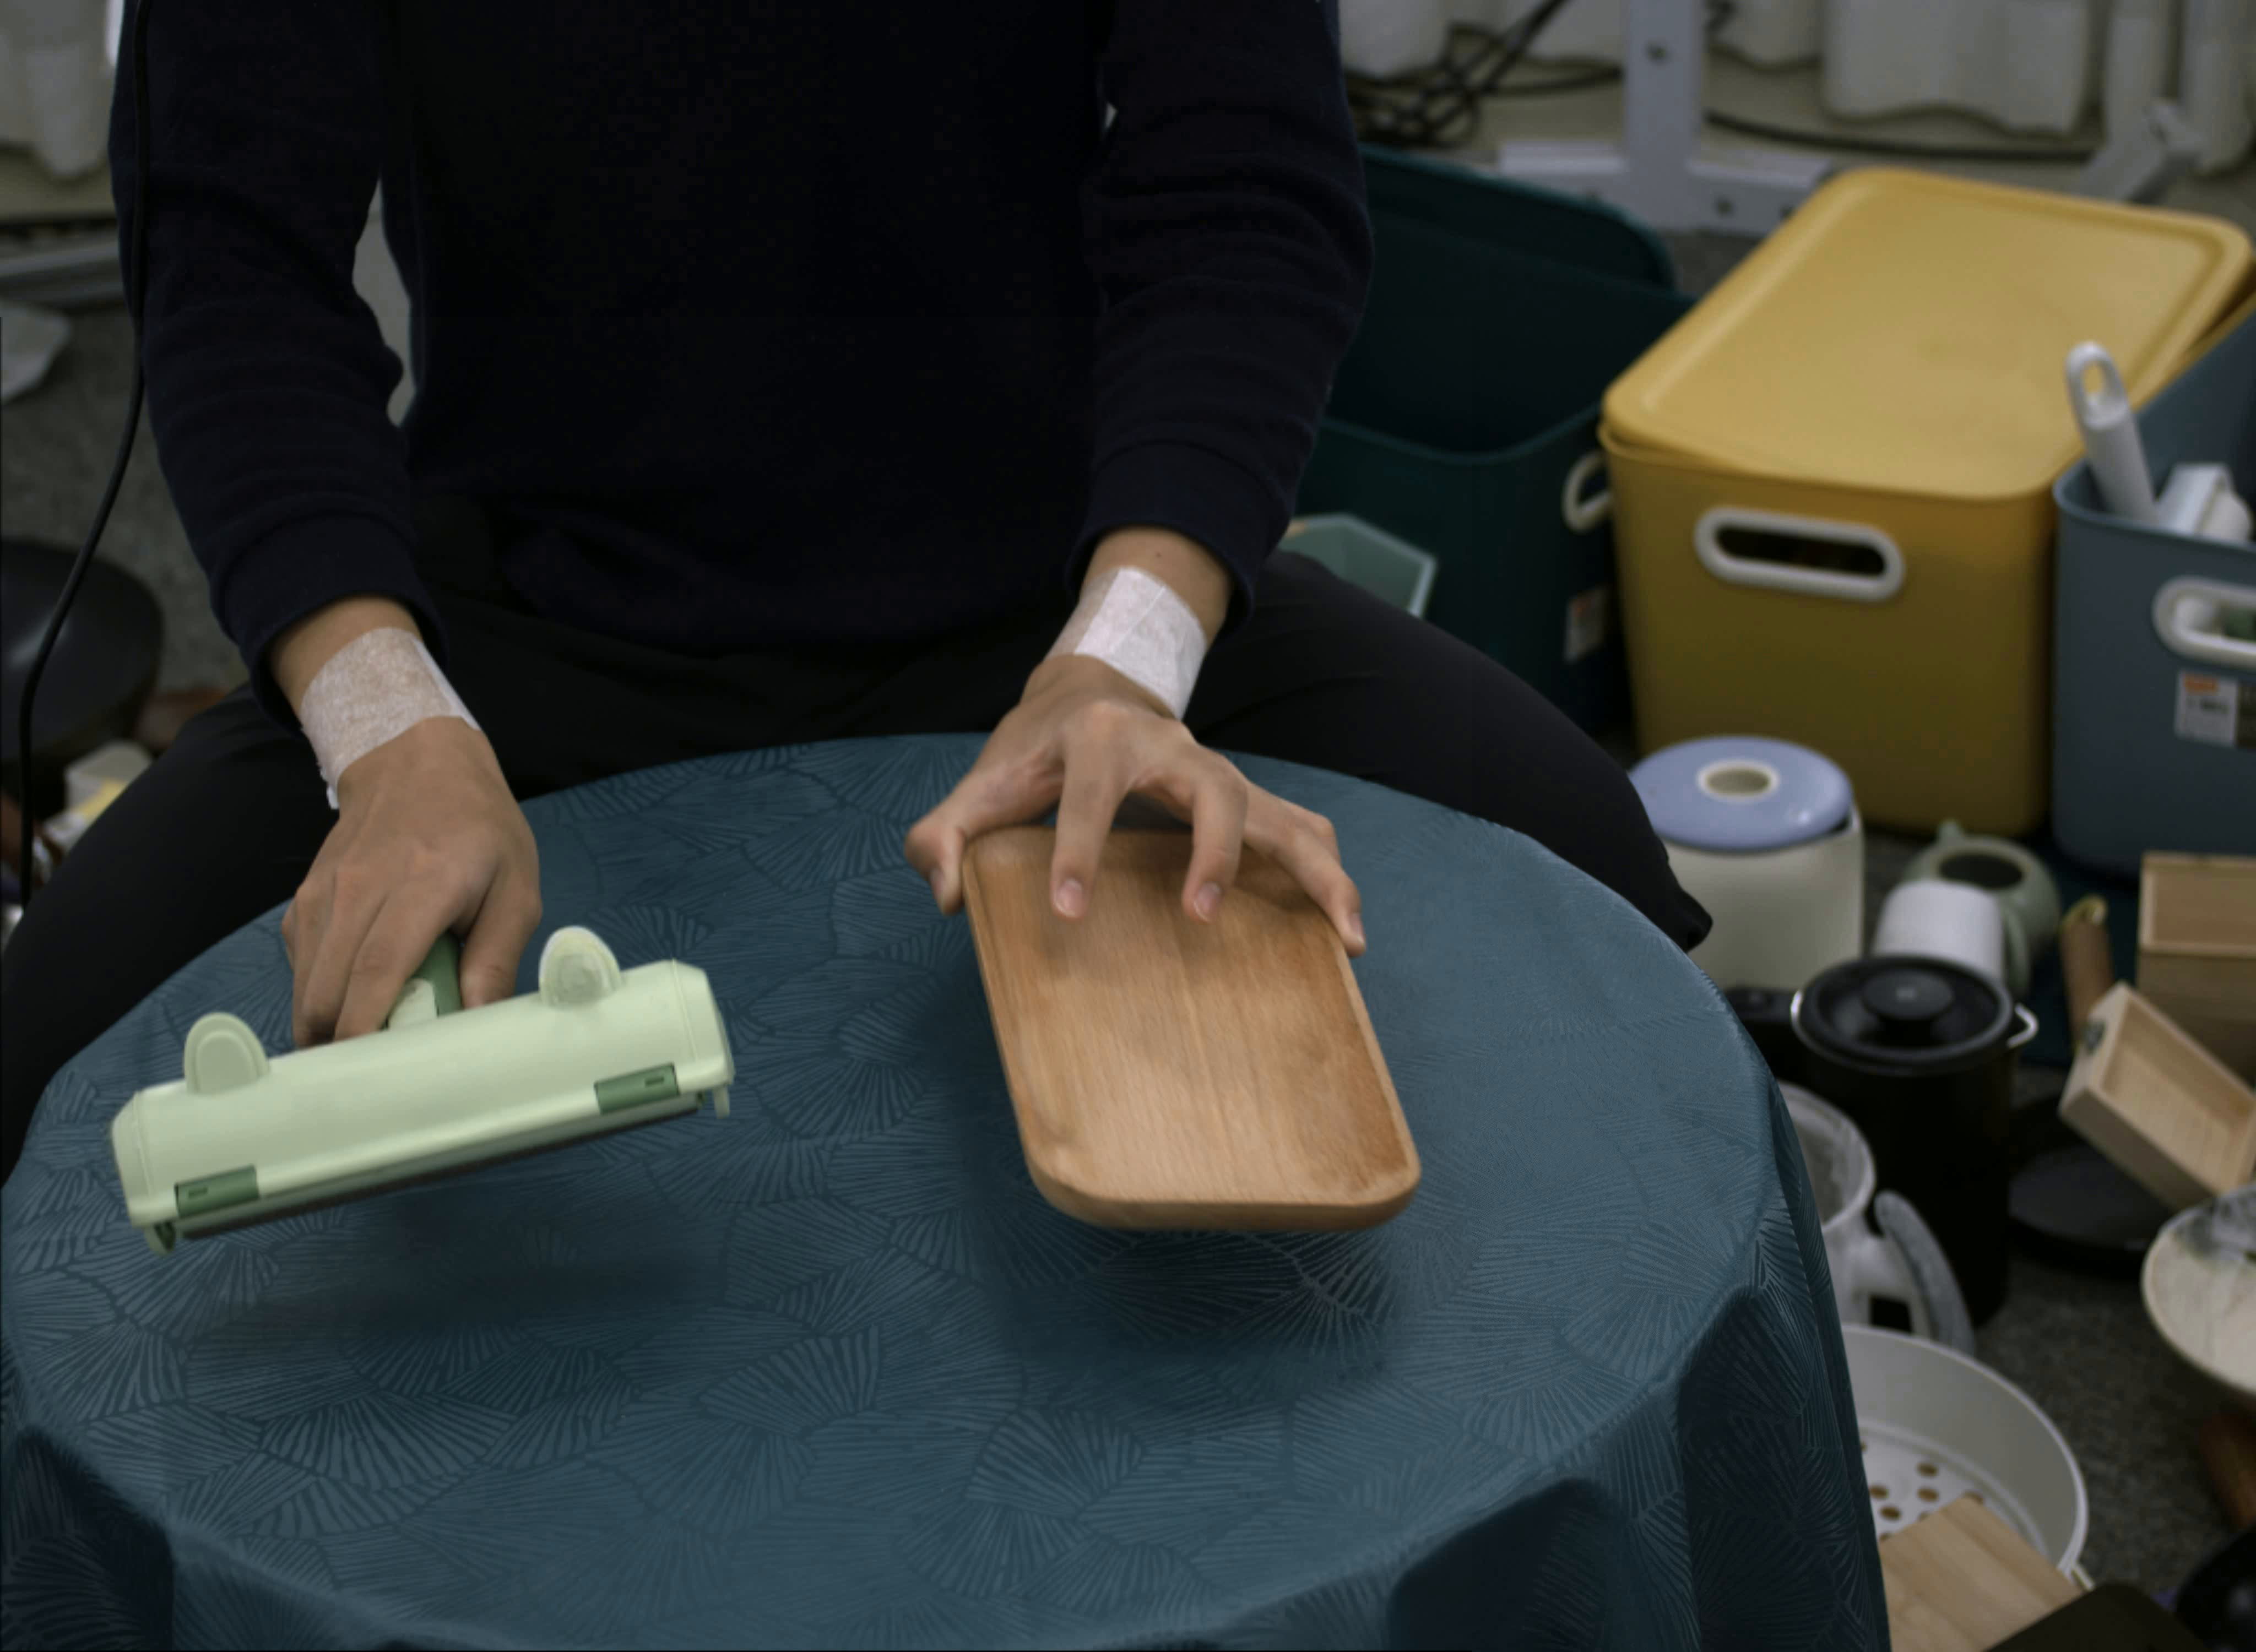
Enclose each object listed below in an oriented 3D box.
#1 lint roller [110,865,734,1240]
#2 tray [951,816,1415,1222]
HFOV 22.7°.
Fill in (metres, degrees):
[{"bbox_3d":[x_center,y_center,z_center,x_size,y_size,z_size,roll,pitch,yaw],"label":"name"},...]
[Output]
[{"bbox_3d":[-0.238,0.048,1.838,0.198,0.081,0.186,-13,38,-6],"label":"lint roller"},{"bbox_3d":[0.014,0.062,1.859,0.130,0.022,0.254,6,25,-11],"label":"tray"}]
